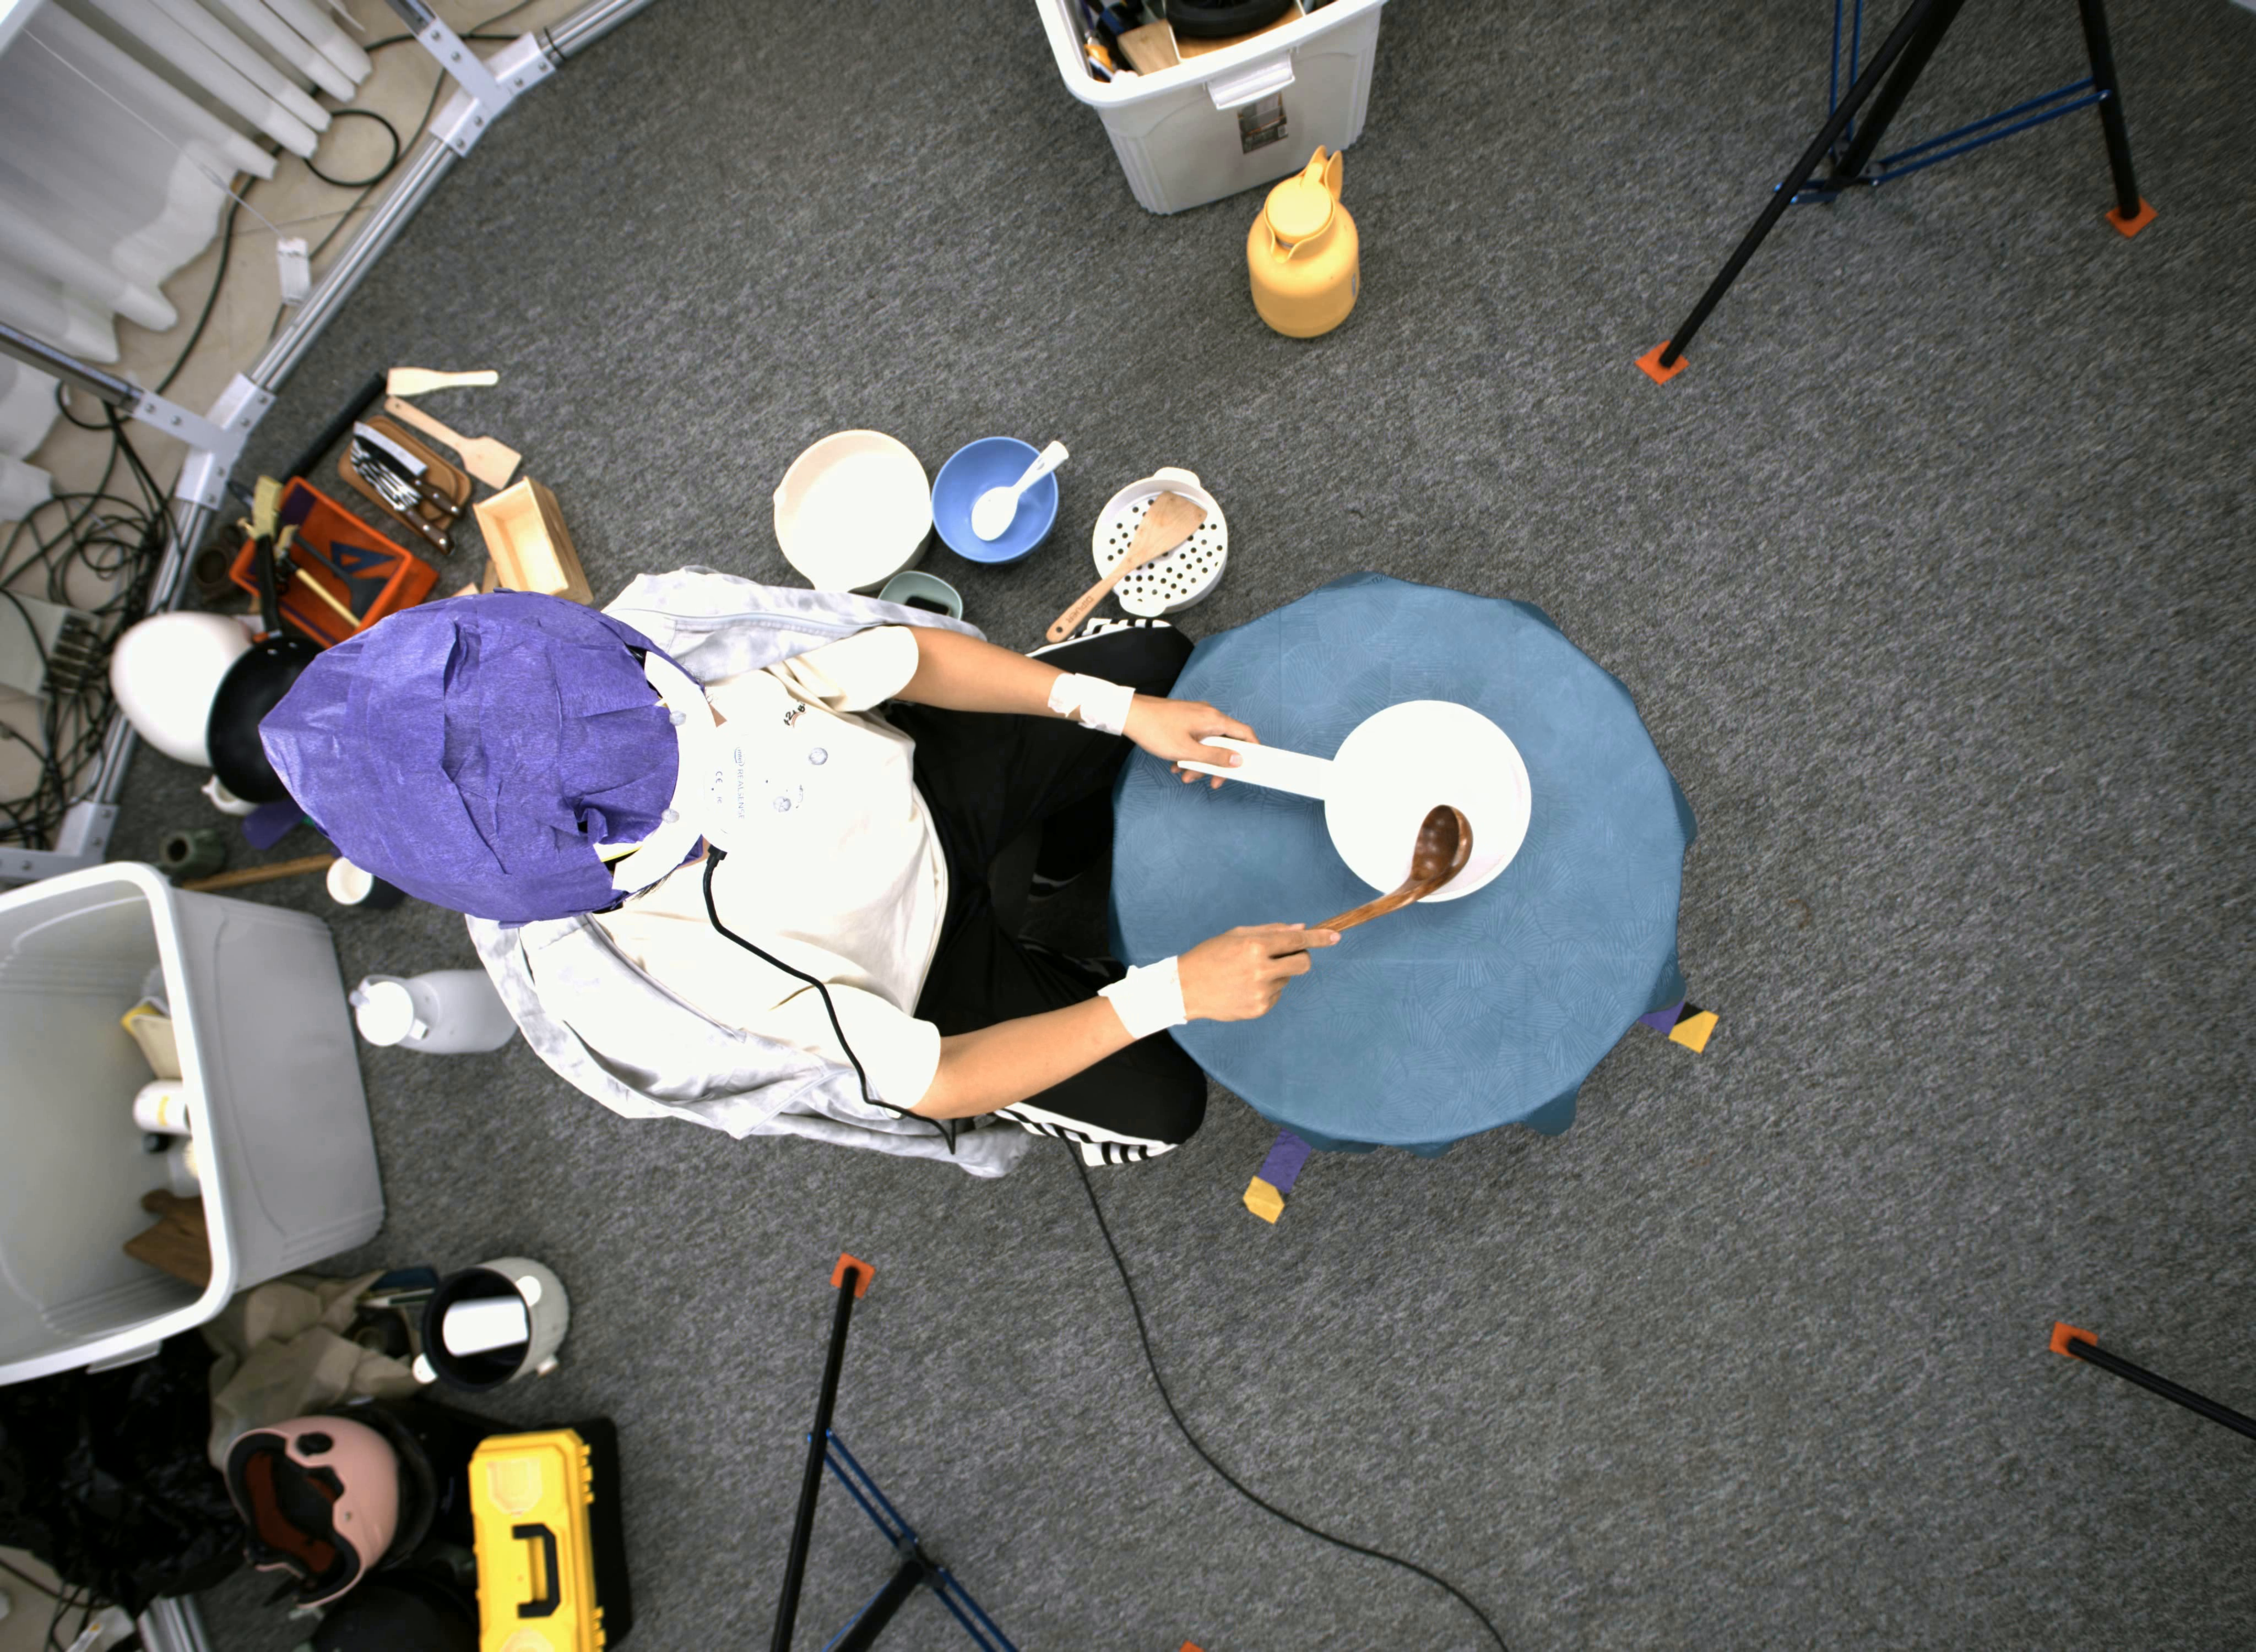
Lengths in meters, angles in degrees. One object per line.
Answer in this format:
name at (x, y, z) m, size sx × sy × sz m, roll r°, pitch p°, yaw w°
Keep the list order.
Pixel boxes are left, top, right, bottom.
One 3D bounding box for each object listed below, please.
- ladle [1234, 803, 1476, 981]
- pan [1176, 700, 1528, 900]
ladle at (0.212, 0.058, 1.309) m, size 0.272 × 0.082 × 0.077 m, roll -23°, pitch 93°, yaw -12°
pan at (0.228, -0.041, 1.421) m, size 0.355 × 0.102 × 0.201 m, roll 14°, pitch 89°, yaw 12°
